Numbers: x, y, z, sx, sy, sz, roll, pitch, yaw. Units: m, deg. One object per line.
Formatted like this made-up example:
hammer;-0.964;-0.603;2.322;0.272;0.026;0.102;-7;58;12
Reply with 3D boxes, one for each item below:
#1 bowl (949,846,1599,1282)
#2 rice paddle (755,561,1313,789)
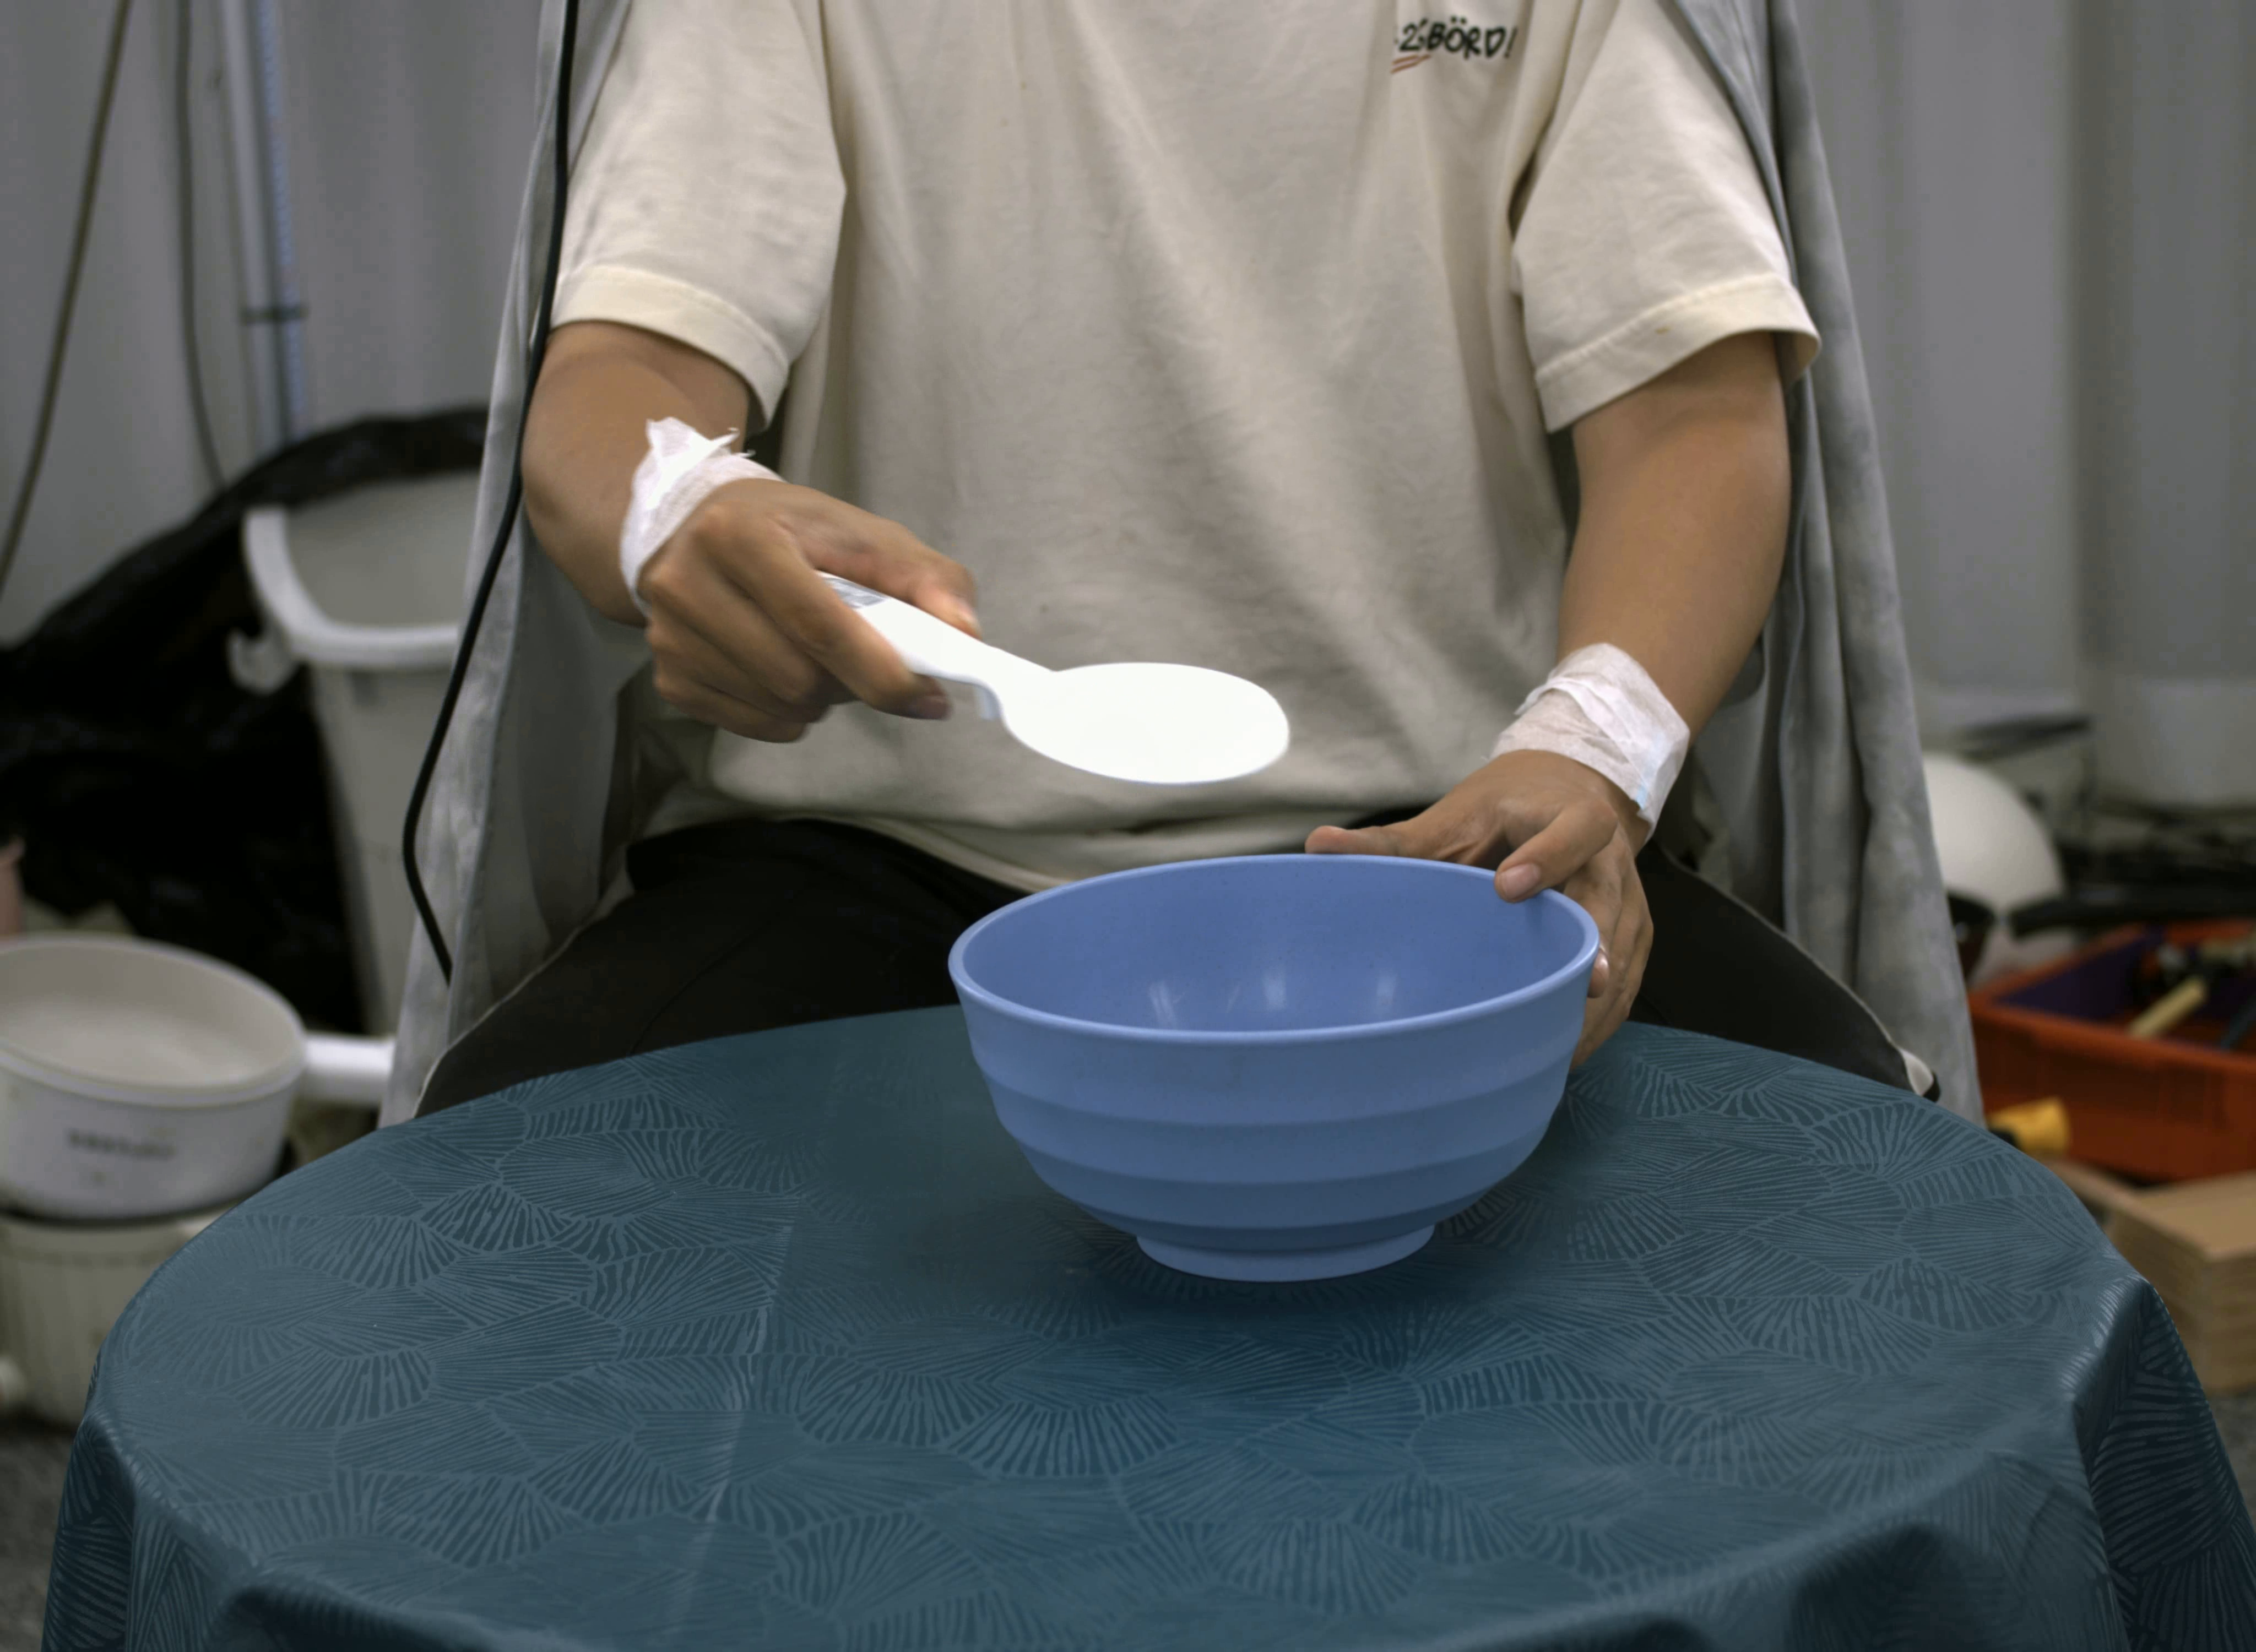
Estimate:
bowl;0.046;0.078;1.661;0.196;0.095;0.198;-3;16;1
rice paddle;-0.029;-0.045;1.644;0.206;0.029;0.069;18;37;39
